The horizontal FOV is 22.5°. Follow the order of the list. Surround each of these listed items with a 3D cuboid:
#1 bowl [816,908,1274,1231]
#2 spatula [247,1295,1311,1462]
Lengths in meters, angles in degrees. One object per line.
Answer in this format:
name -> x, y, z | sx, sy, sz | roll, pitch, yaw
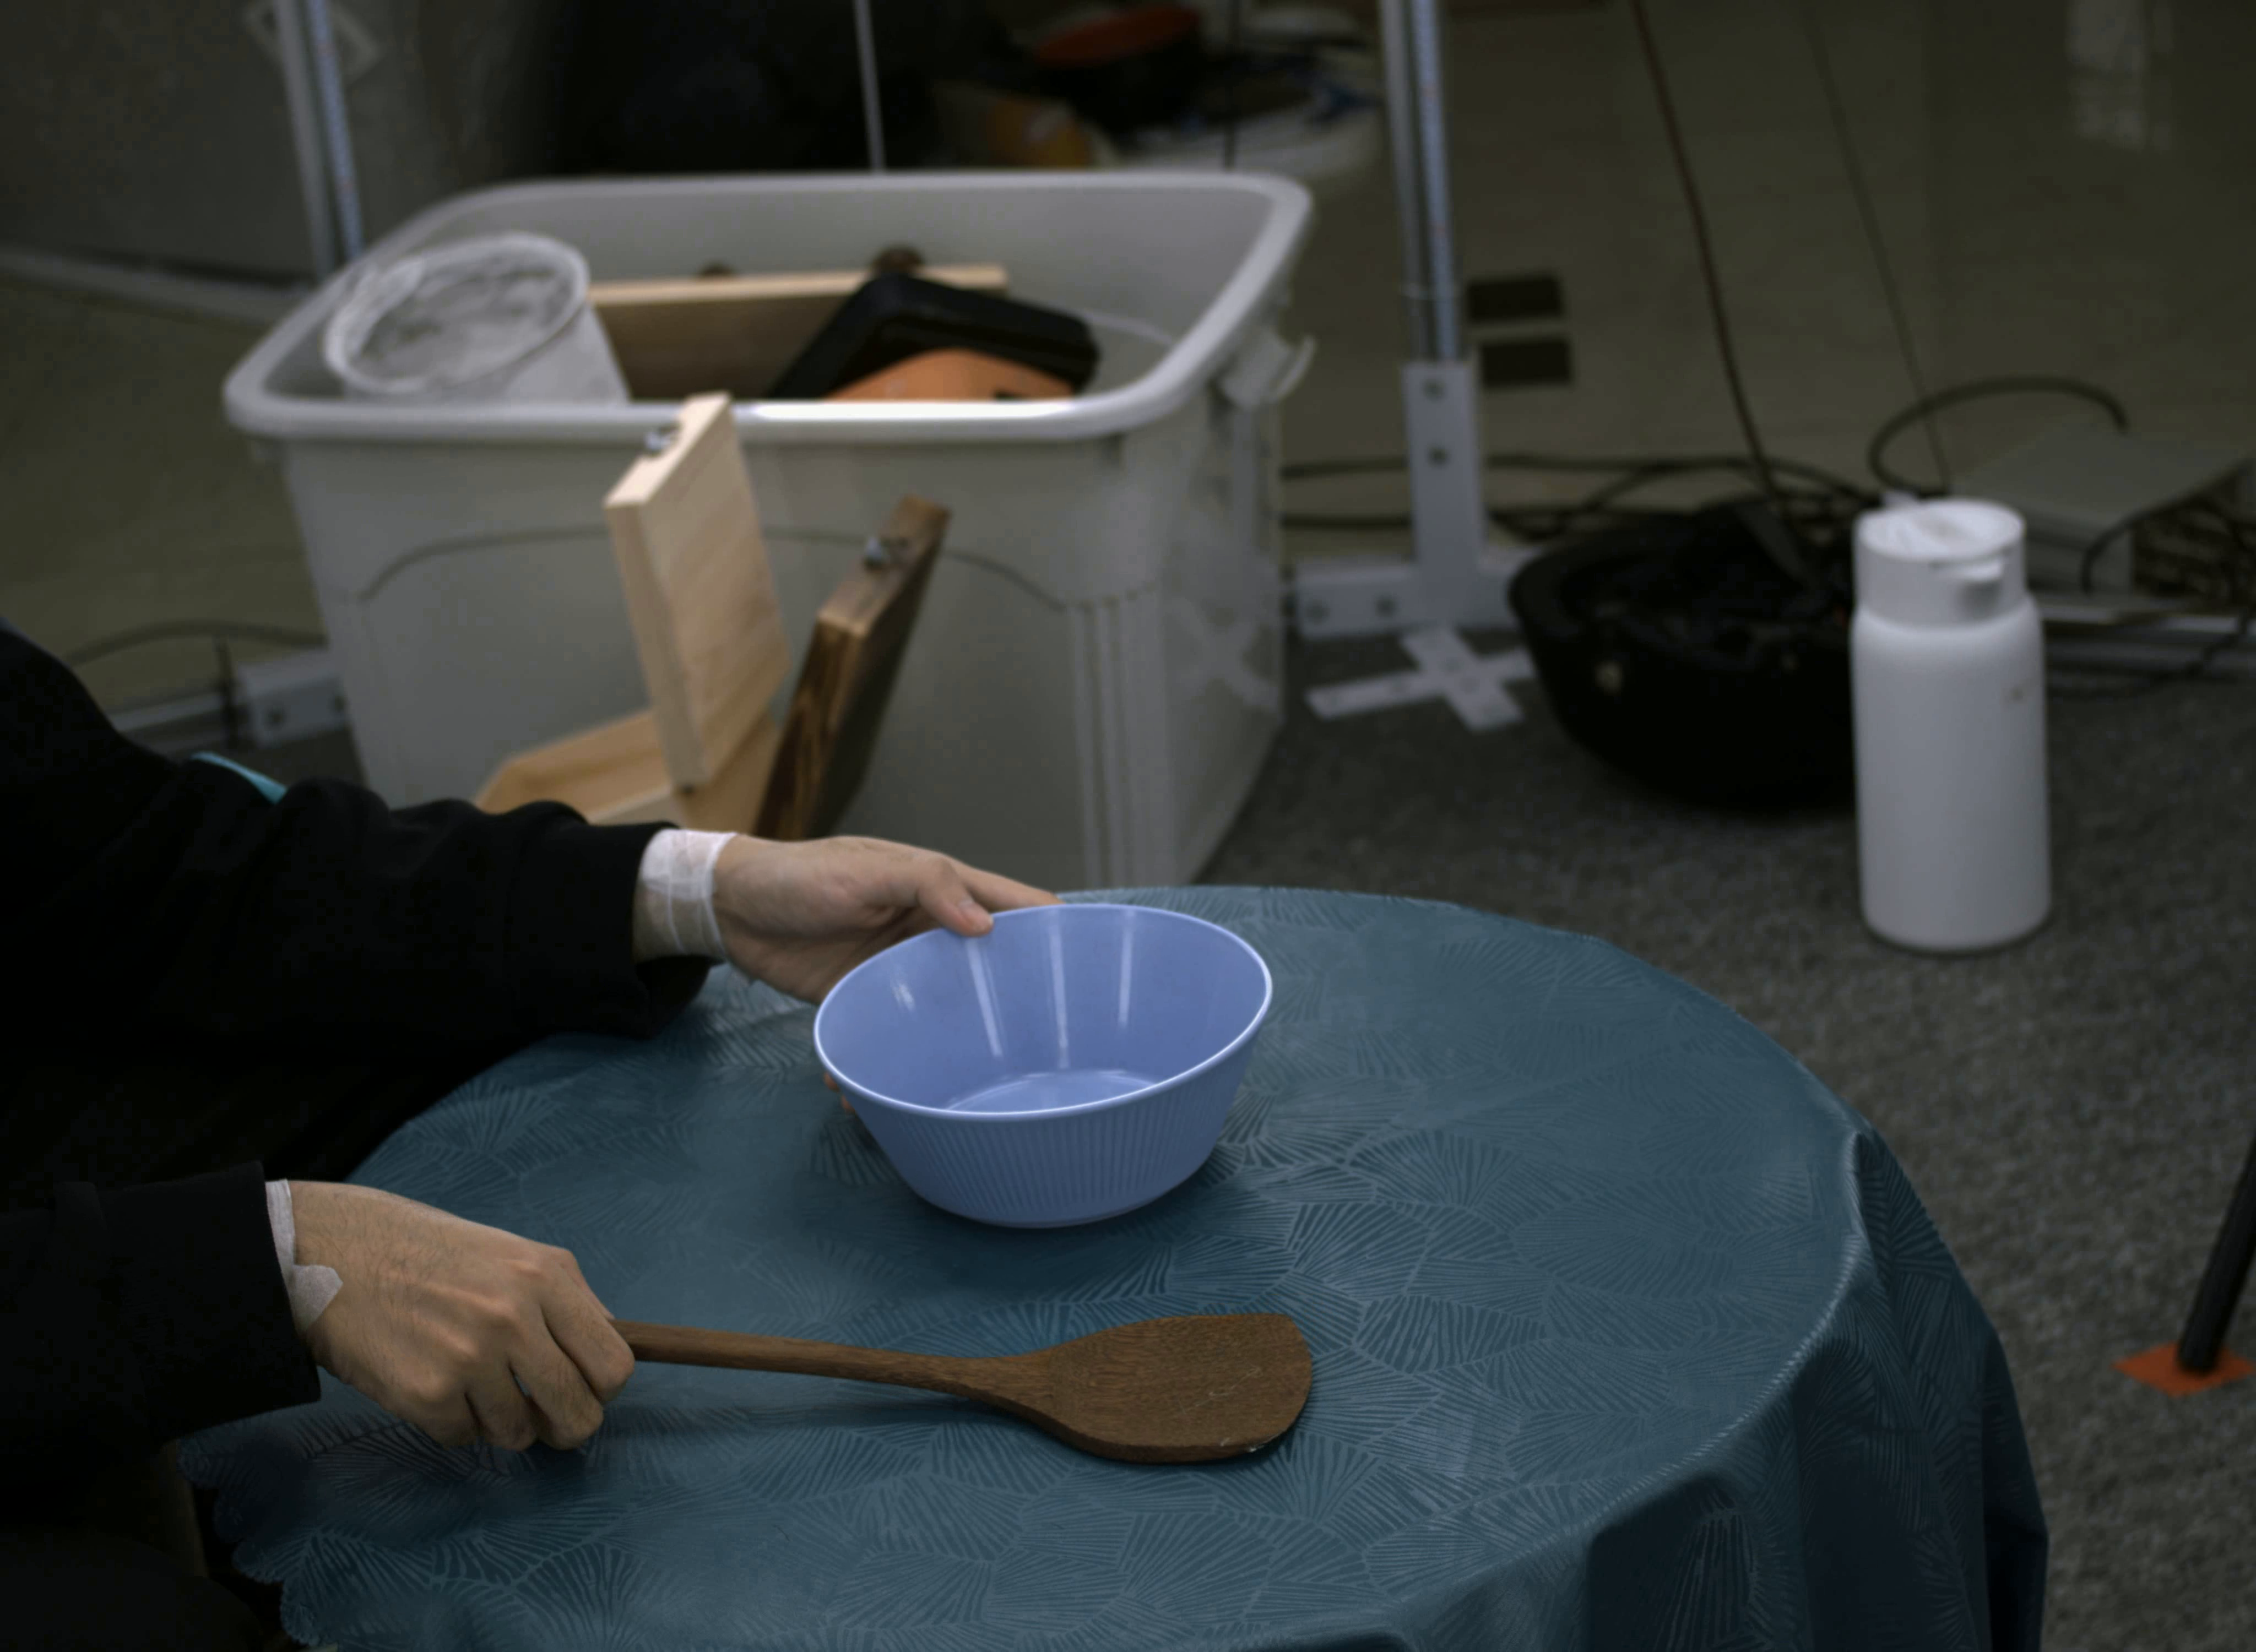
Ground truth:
bowl -> -0.028, 0.099, 2.163 | 0.176, 0.071, 0.173 | -6, 25, 3
spatula -> -0.127, 0.190, 2.024 | 0.385, 0.016, 0.095 | 4, 25, 6
